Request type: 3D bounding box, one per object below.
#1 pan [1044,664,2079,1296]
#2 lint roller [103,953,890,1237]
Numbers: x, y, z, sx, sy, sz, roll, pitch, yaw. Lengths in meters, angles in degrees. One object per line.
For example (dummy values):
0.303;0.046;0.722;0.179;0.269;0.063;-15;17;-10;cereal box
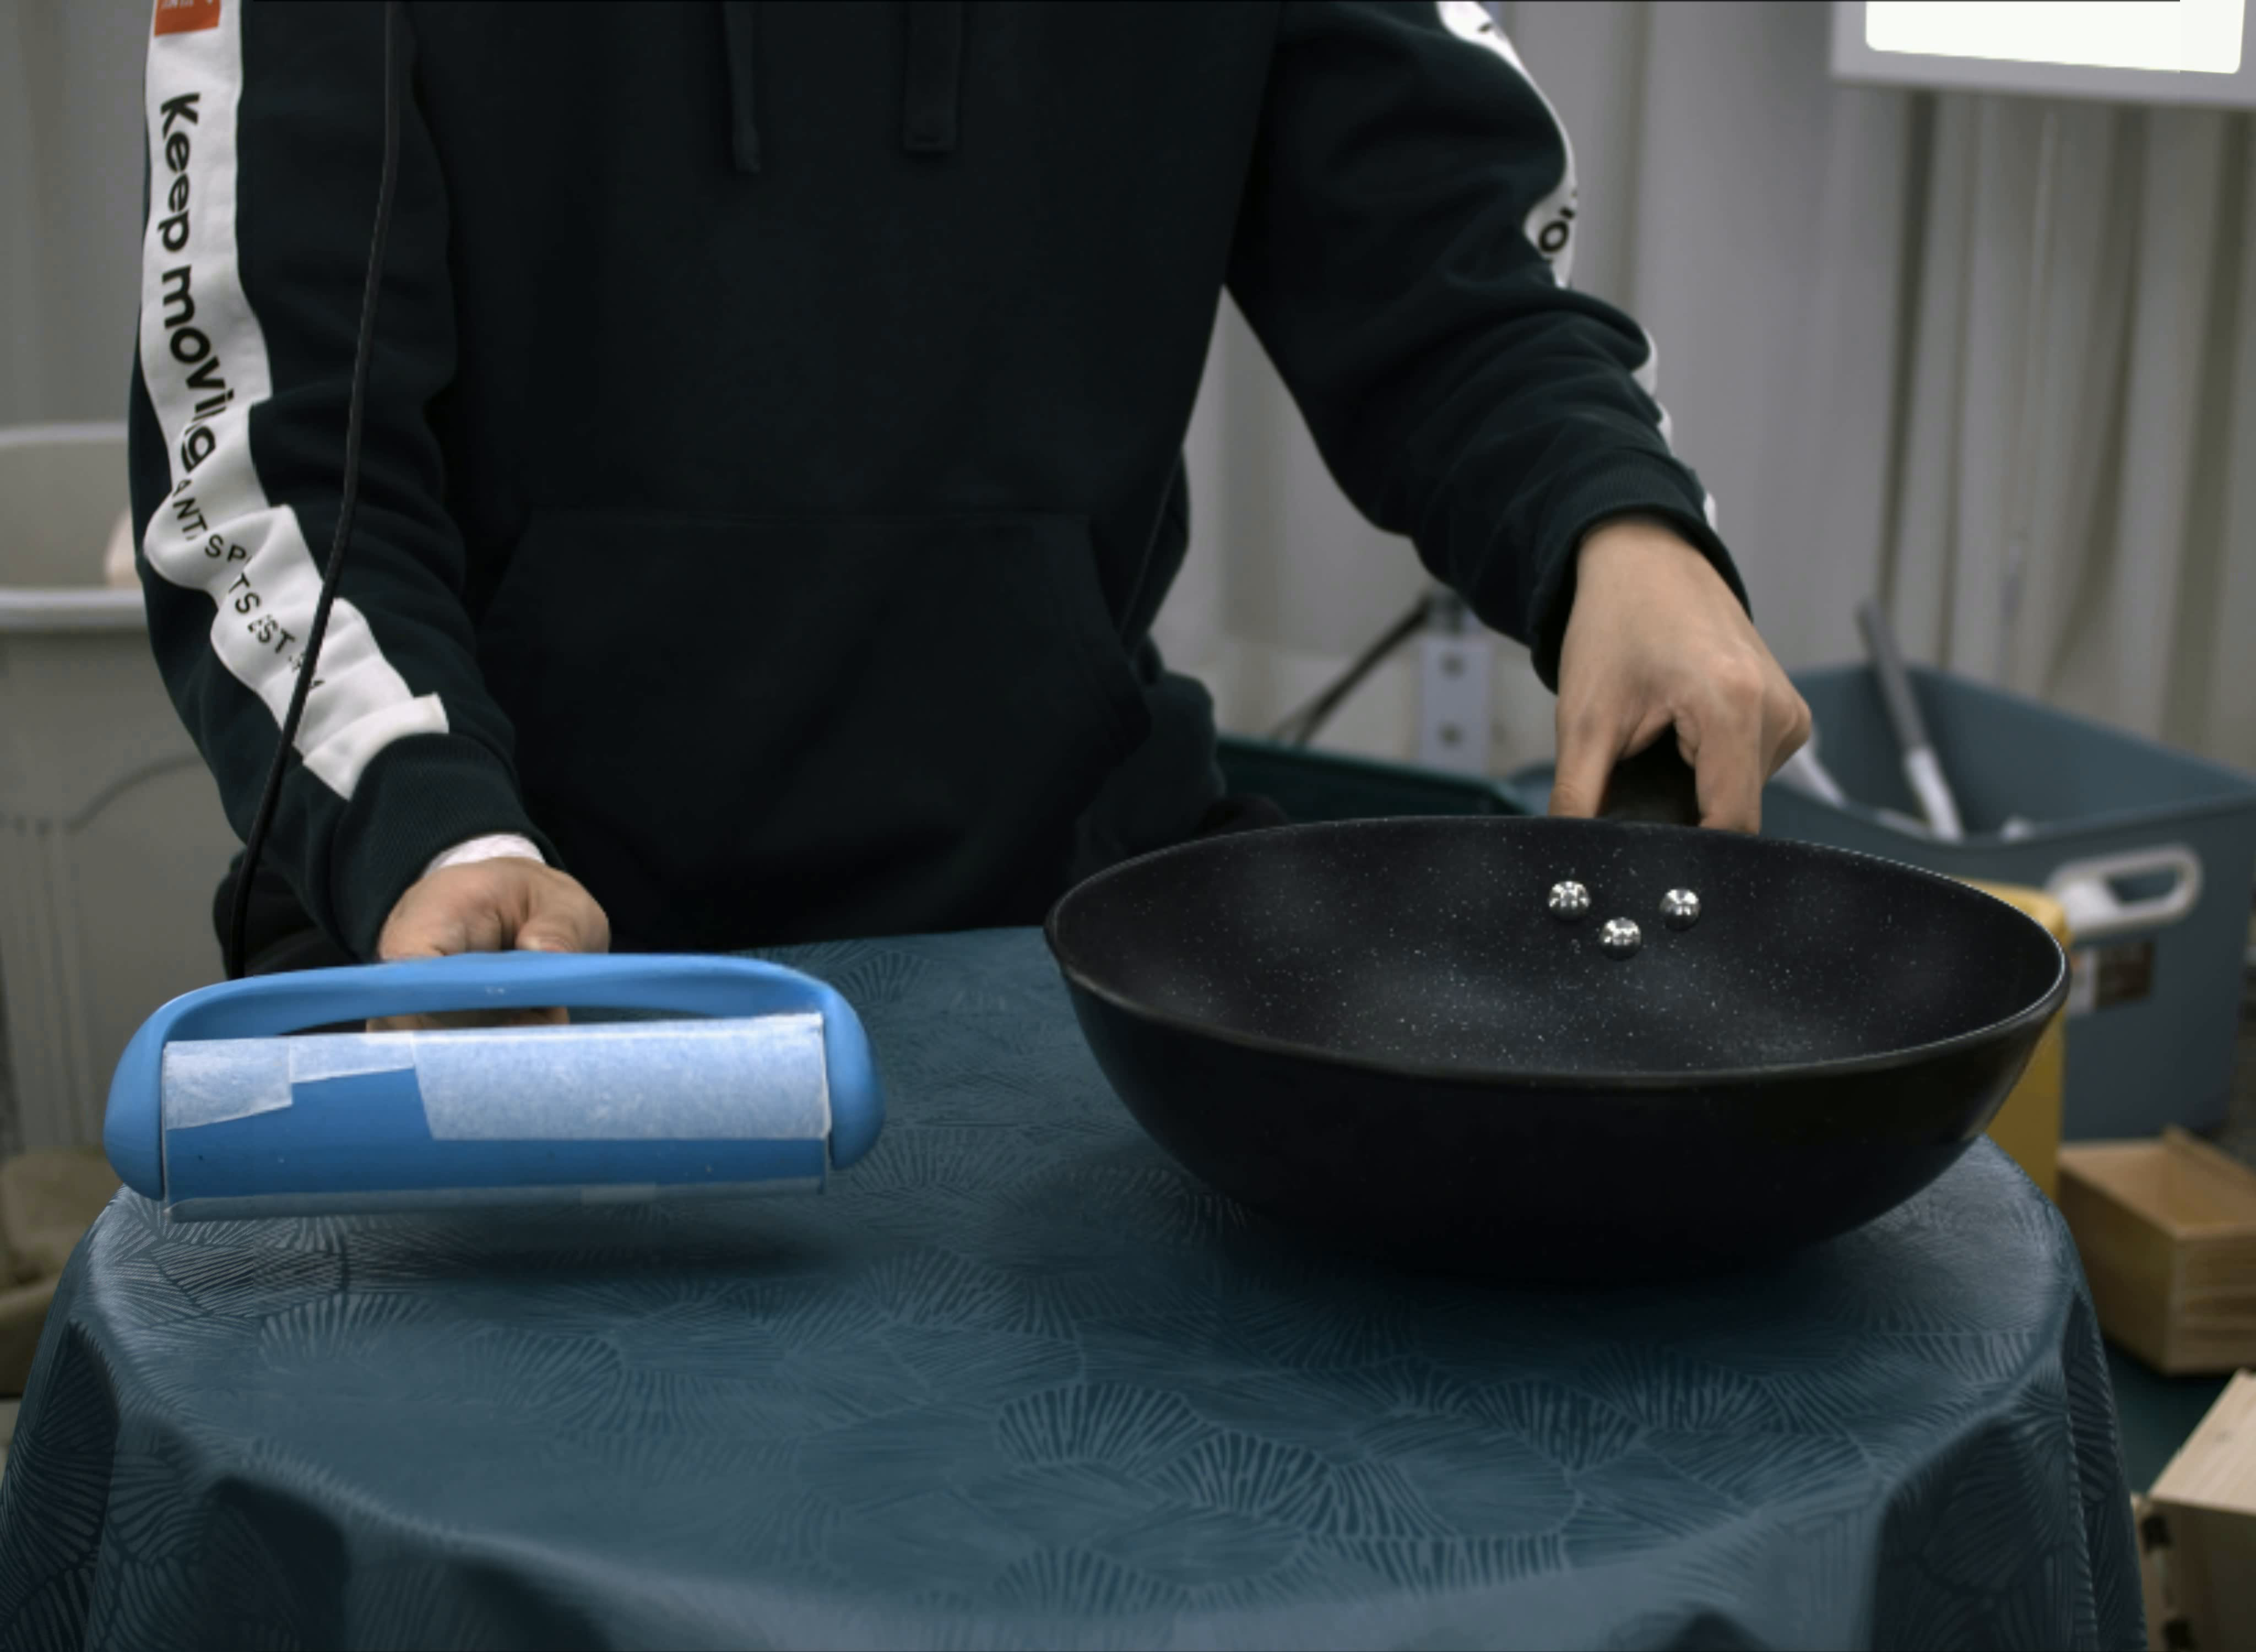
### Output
0.146;0.046;1.663;0.308;0.112;0.476;6;14;11;pan
-0.194;0.070;1.594;0.229;0.068;0.179;-6;16;-9;lint roller
